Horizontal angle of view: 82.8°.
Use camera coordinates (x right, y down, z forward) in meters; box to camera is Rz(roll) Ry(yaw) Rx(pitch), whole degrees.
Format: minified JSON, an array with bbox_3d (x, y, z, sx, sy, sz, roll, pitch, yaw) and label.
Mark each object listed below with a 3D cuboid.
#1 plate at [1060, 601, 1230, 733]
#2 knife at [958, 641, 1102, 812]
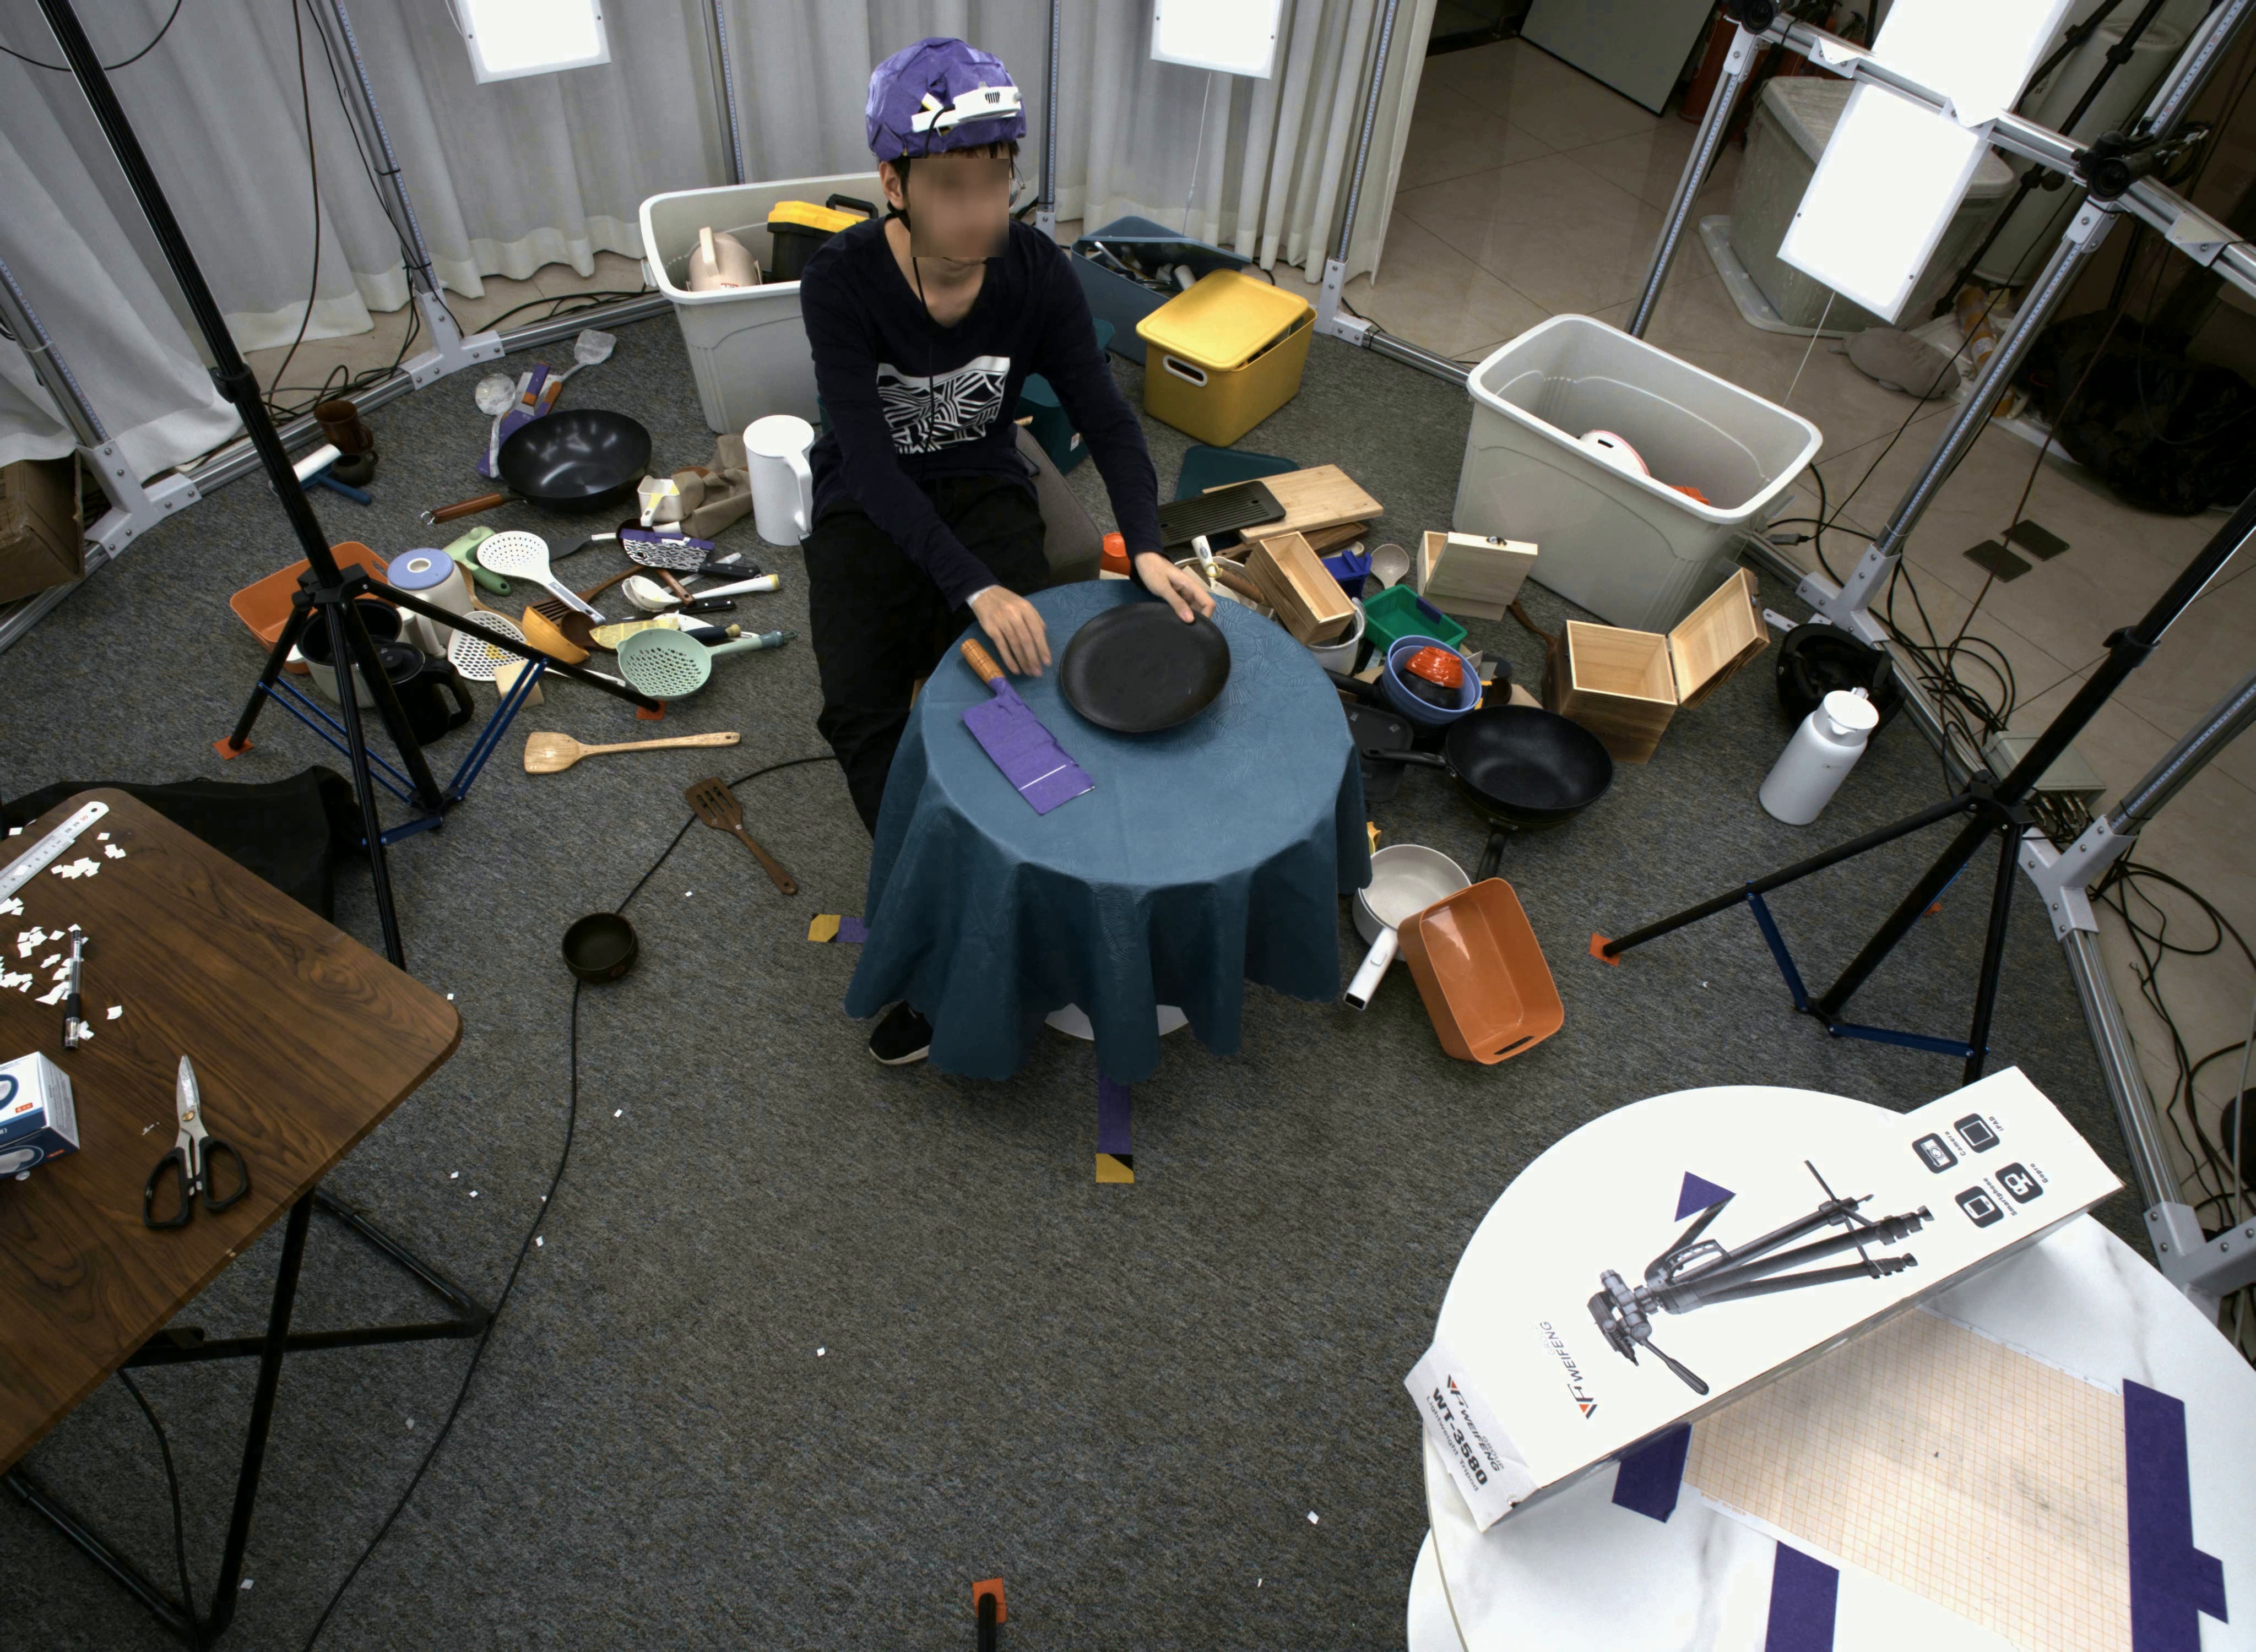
[{"bbox_3d":[0.024,-0.225,1.828,0.244,0.023,0.250,-3,54,5],"label":"plate"},{"bbox_3d":[-0.165,-0.141,1.761,0.104,0.031,0.321,-26,56,-24],"label":"knife"}]
